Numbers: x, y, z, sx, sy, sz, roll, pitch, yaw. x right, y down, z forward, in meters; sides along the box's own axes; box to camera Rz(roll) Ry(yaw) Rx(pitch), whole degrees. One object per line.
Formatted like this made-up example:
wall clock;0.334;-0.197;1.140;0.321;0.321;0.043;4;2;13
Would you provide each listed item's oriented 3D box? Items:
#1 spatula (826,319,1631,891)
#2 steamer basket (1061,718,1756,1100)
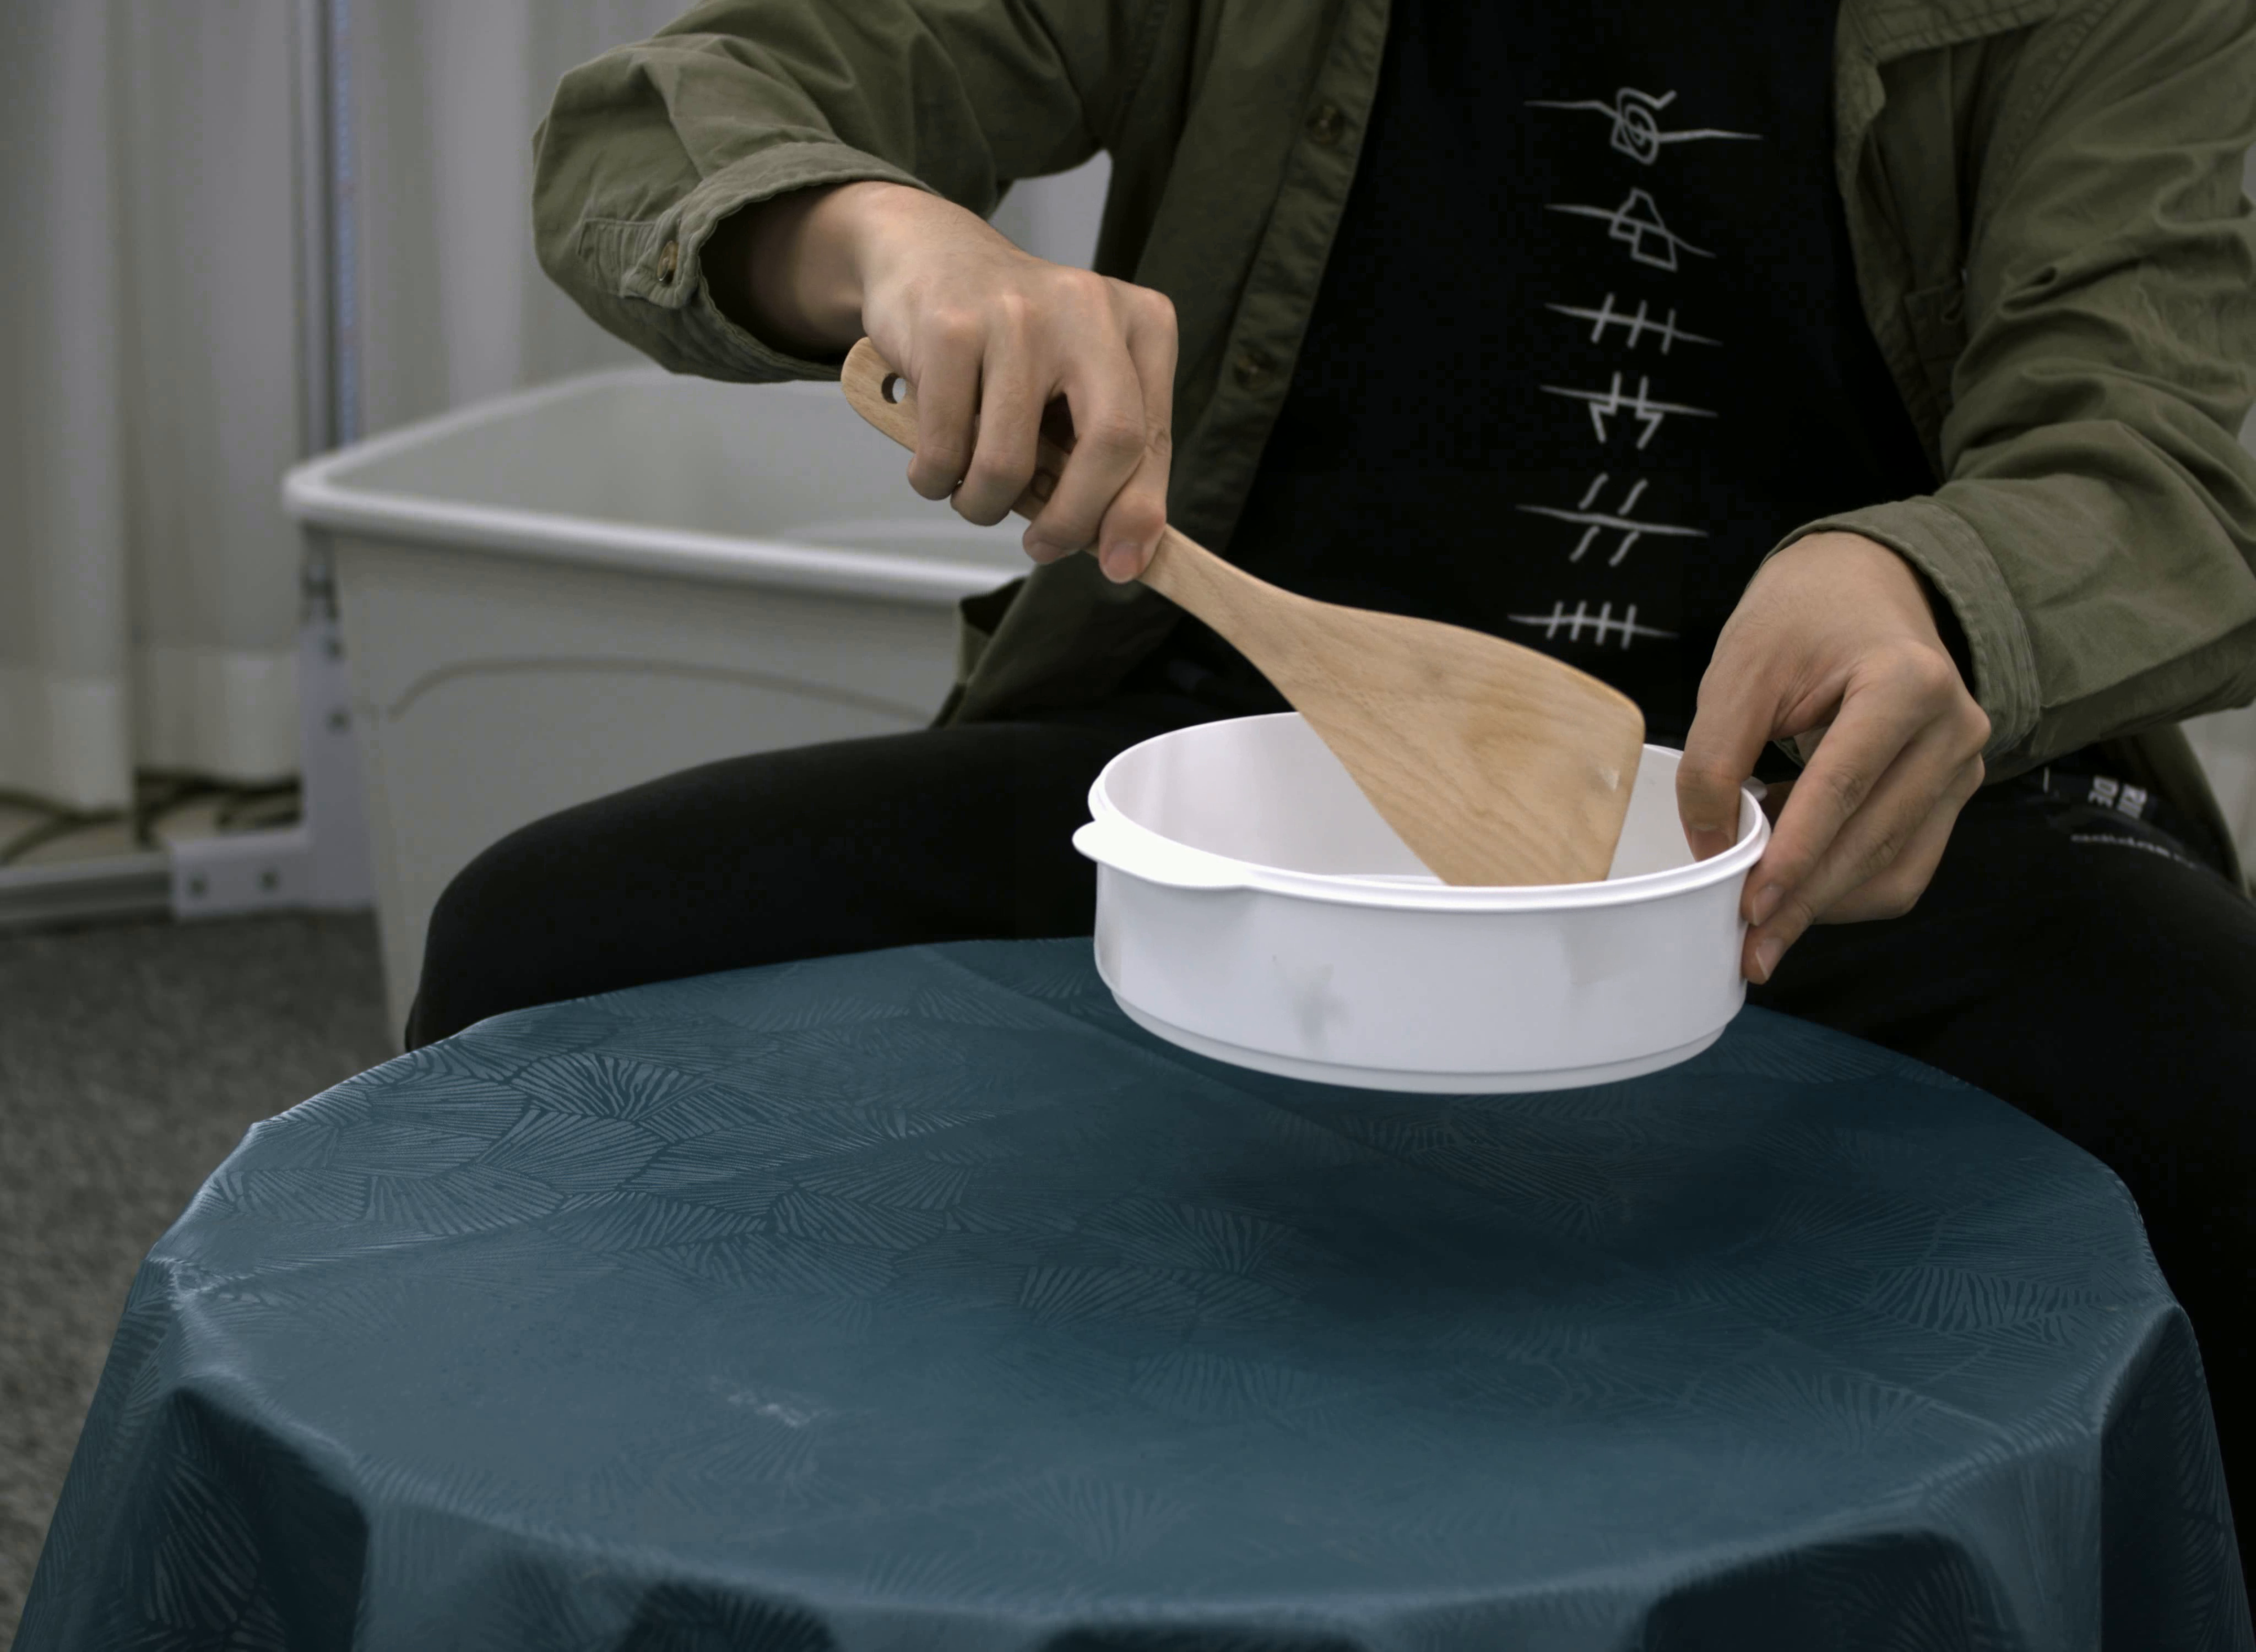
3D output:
spatula;0.024;-0.077;1.589;0.323;0.080;0.016;33;19;28
steamer basket;0.083;0.025;1.563;0.232;0.070;0.199;-7;19;-35
